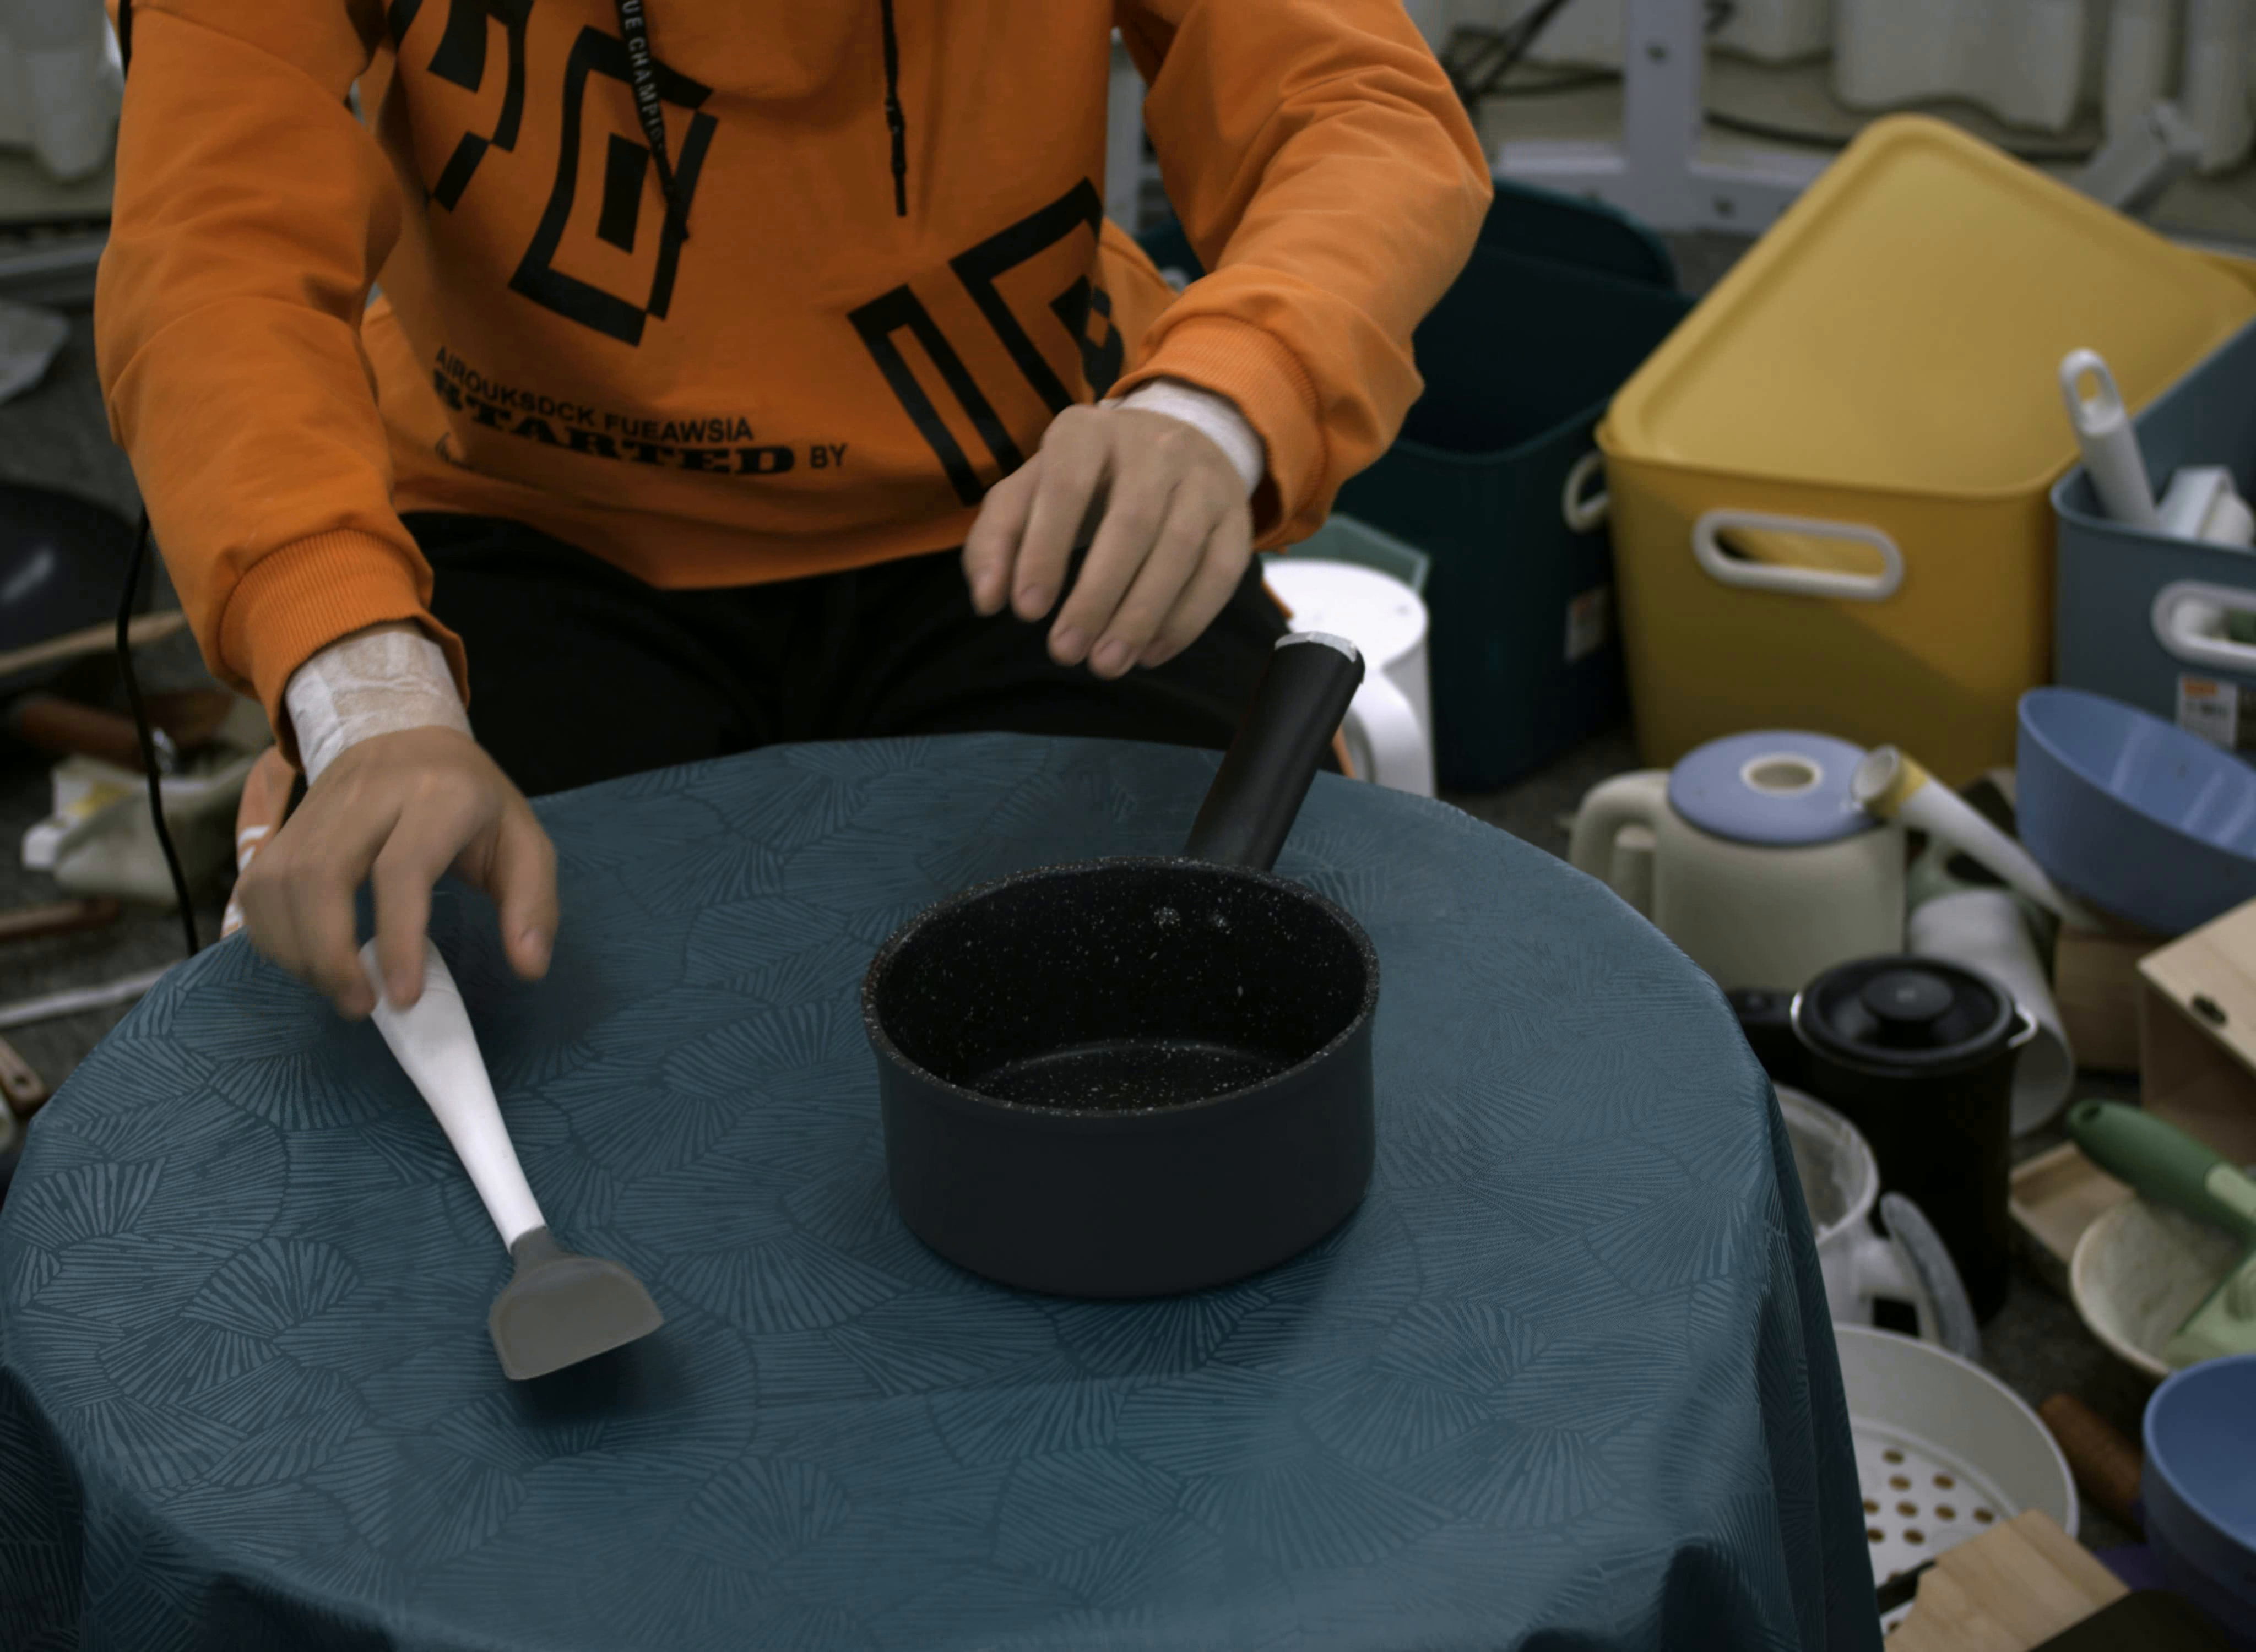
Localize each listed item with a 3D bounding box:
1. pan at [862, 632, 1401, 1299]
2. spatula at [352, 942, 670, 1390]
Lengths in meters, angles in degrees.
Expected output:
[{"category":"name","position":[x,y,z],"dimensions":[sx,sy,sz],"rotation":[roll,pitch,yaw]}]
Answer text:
[{"category":"pan","position":[0.026,0.043,1.920],"dimensions":[0.171,0.085,0.334],"rotation":[8,31,18]},{"category":"spatula","position":[-0.211,0.114,1.863],"dimensions":[0.059,0.032,0.290],"rotation":[-16,29,-13]}]
